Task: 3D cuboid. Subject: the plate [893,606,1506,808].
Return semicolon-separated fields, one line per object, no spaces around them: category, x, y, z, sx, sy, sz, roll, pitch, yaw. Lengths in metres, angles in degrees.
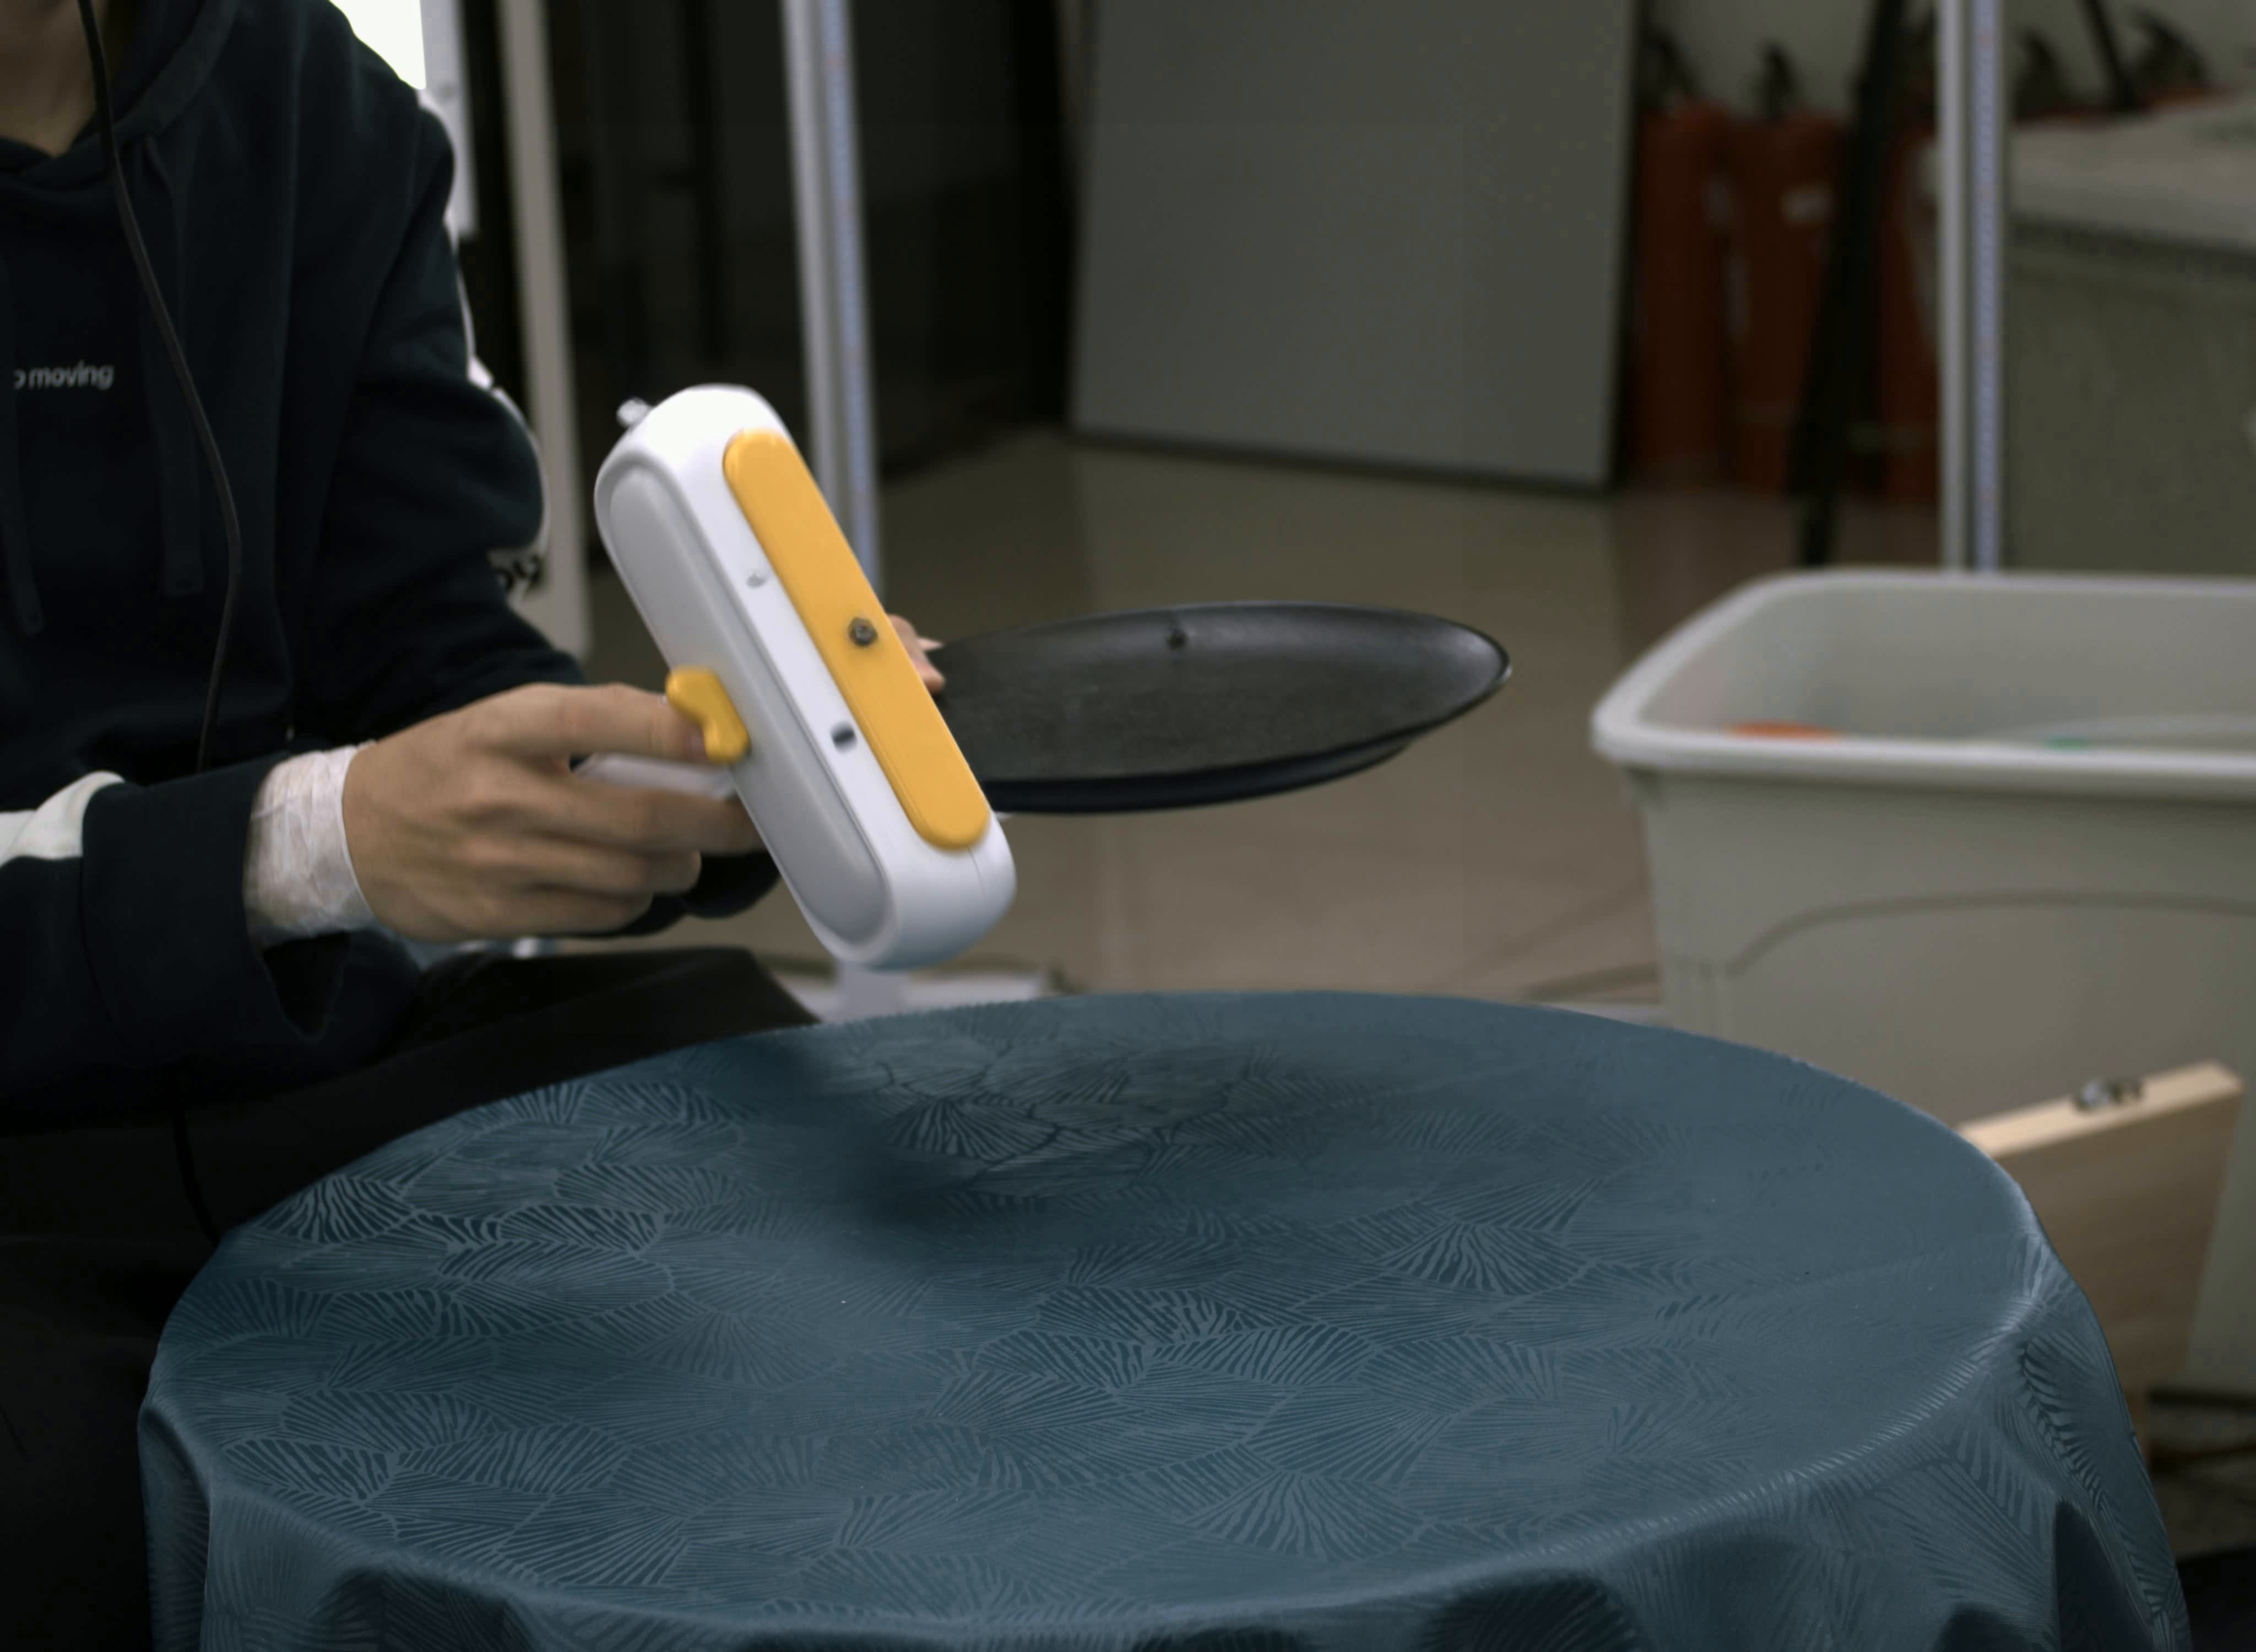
plate;0.009;-0.039;1.833;0.241;0.024;0.245;-6;13;0

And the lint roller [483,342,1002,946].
lint roller;-0.138;-0.027;1.693;0.073;0.194;0.194;-27;-12;-42
